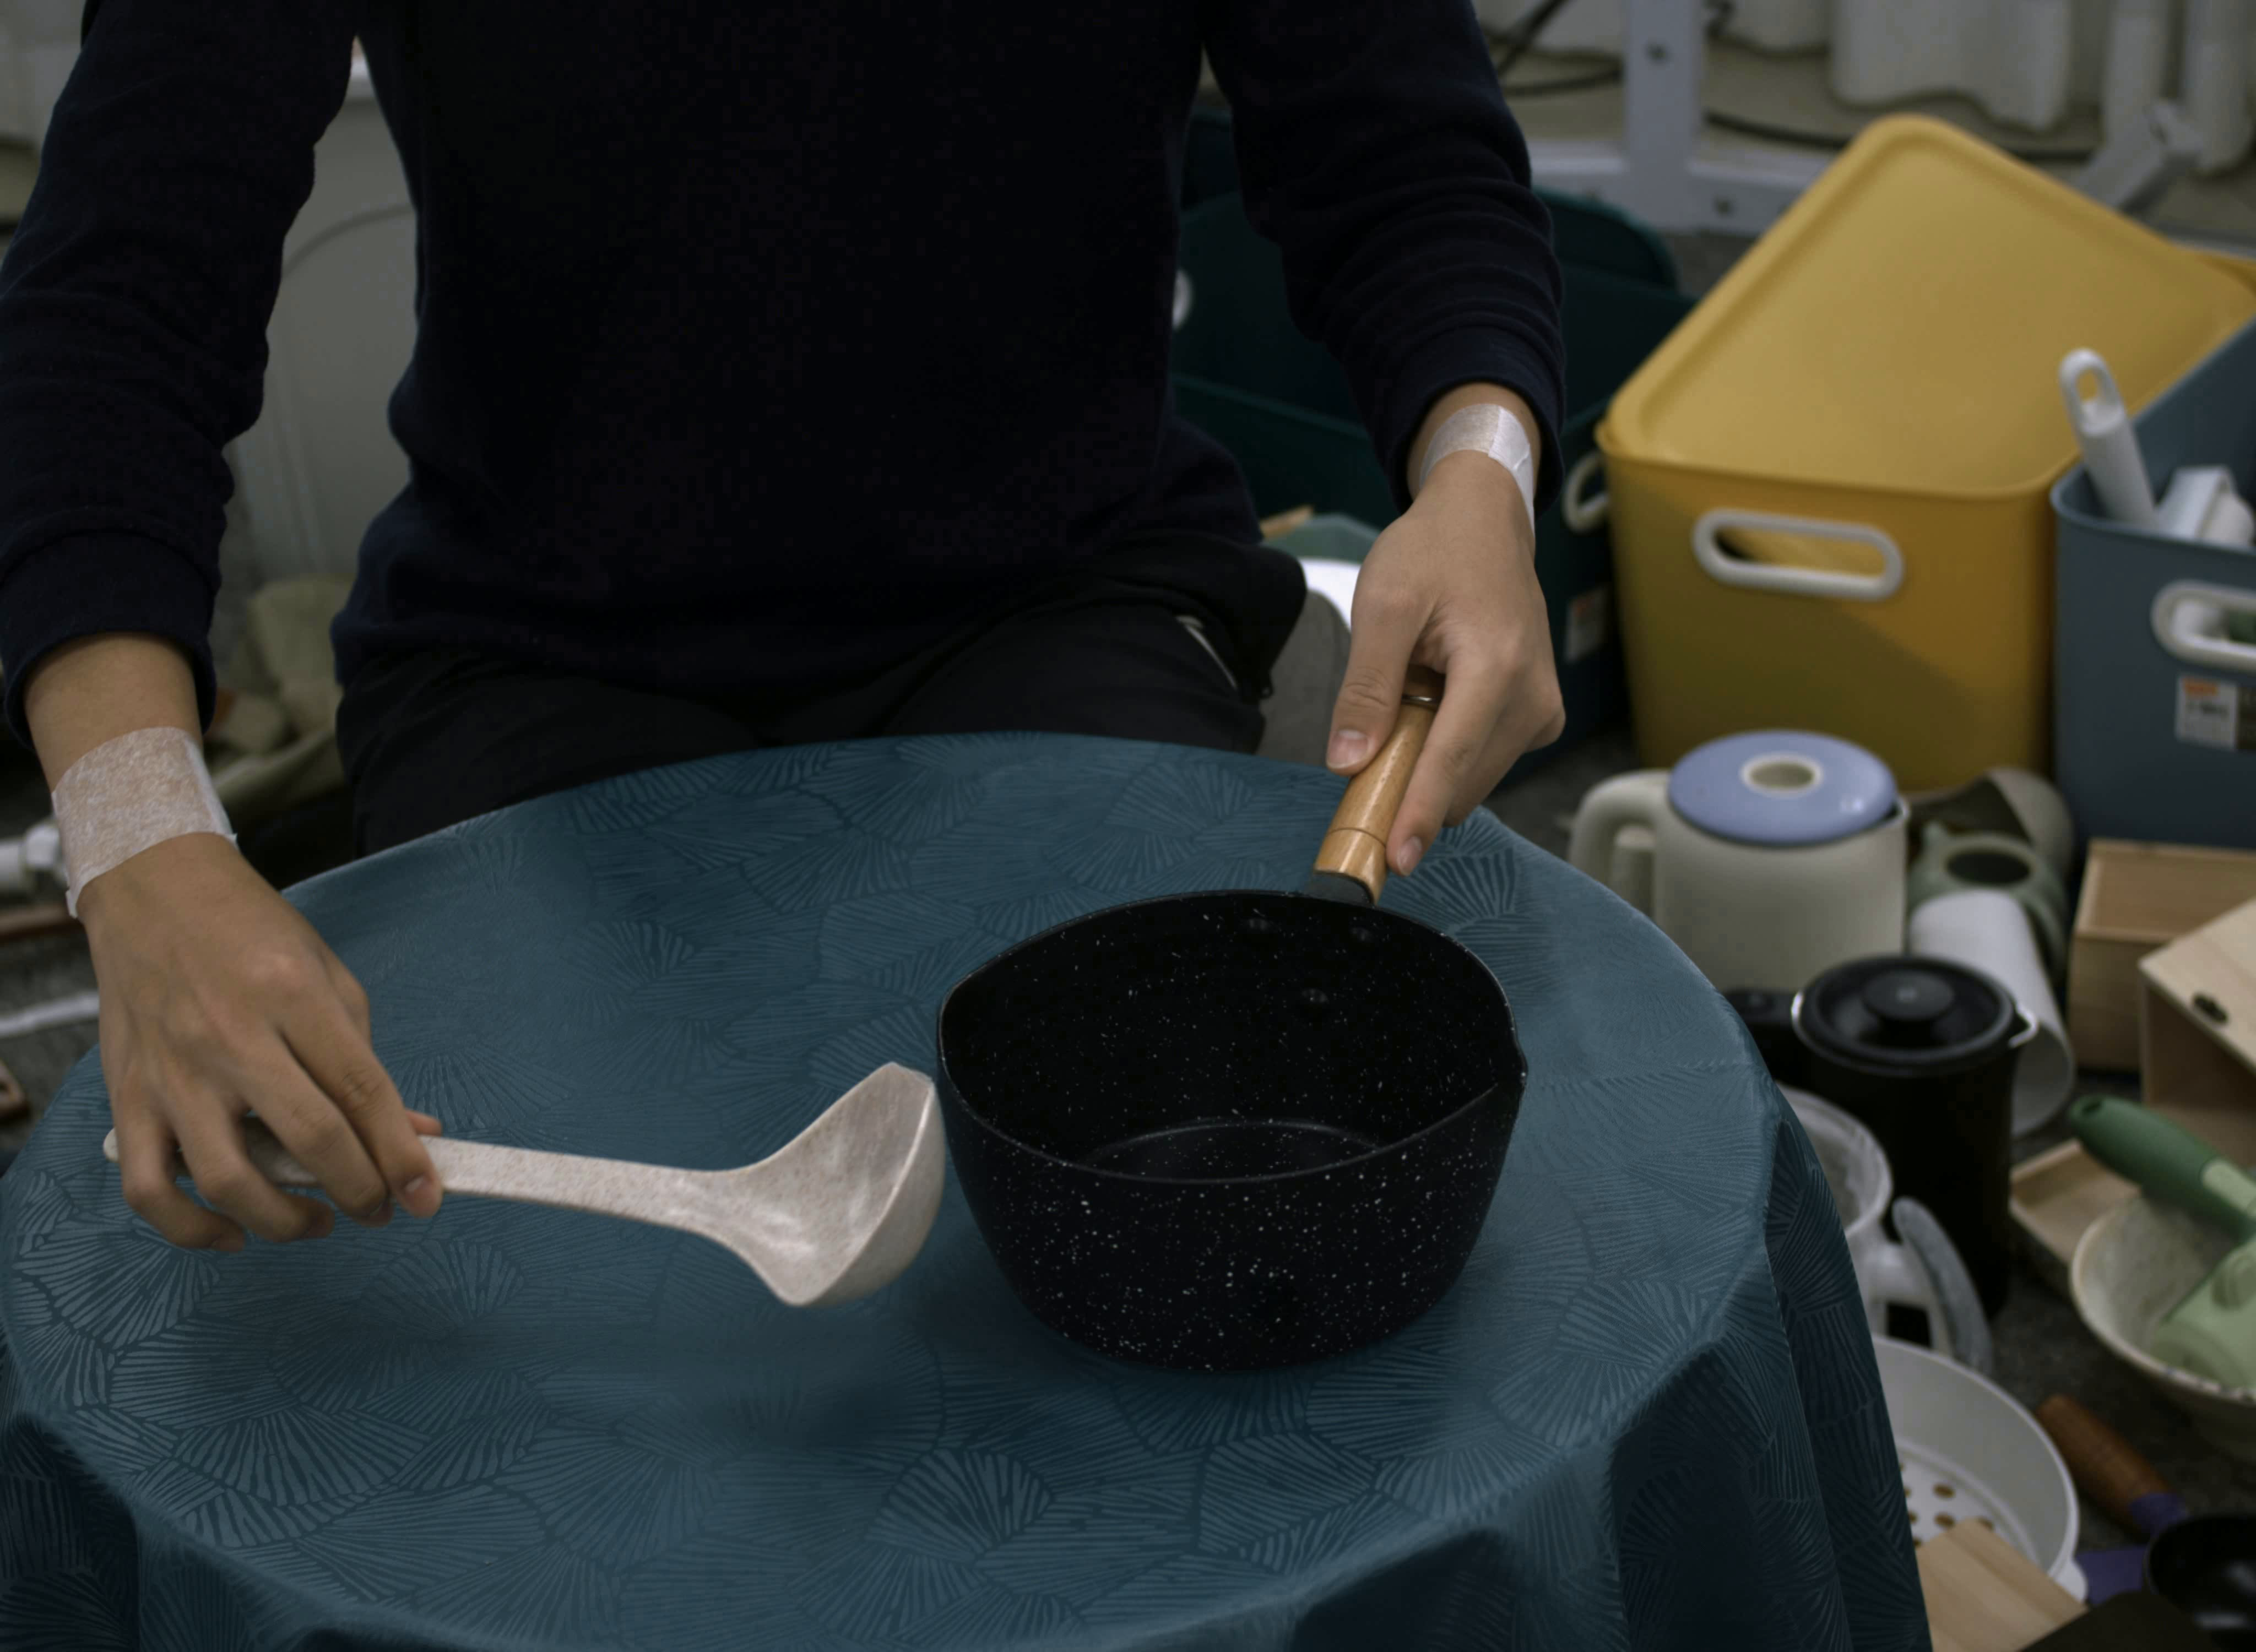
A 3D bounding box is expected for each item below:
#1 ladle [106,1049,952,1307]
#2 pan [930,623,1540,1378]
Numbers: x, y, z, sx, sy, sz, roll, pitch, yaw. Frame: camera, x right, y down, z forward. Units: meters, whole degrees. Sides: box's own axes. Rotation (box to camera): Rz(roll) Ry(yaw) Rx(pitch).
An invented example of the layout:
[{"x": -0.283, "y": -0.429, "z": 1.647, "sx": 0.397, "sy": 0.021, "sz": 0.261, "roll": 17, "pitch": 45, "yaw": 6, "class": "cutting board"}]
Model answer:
[{"x": -0.190, "y": 0.096, "z": 1.743, "sx": 0.273, "sy": 0.068, "sz": 0.091, "roll": 7, "pitch": 54, "yaw": 6, "class": "ladle"}, {"x": 0.057, "y": 0.054, "z": 1.870, "sx": 0.206, "sy": 0.107, "sz": 0.349, "roll": 5, "pitch": 30, "yaw": 18, "class": "pan"}]
